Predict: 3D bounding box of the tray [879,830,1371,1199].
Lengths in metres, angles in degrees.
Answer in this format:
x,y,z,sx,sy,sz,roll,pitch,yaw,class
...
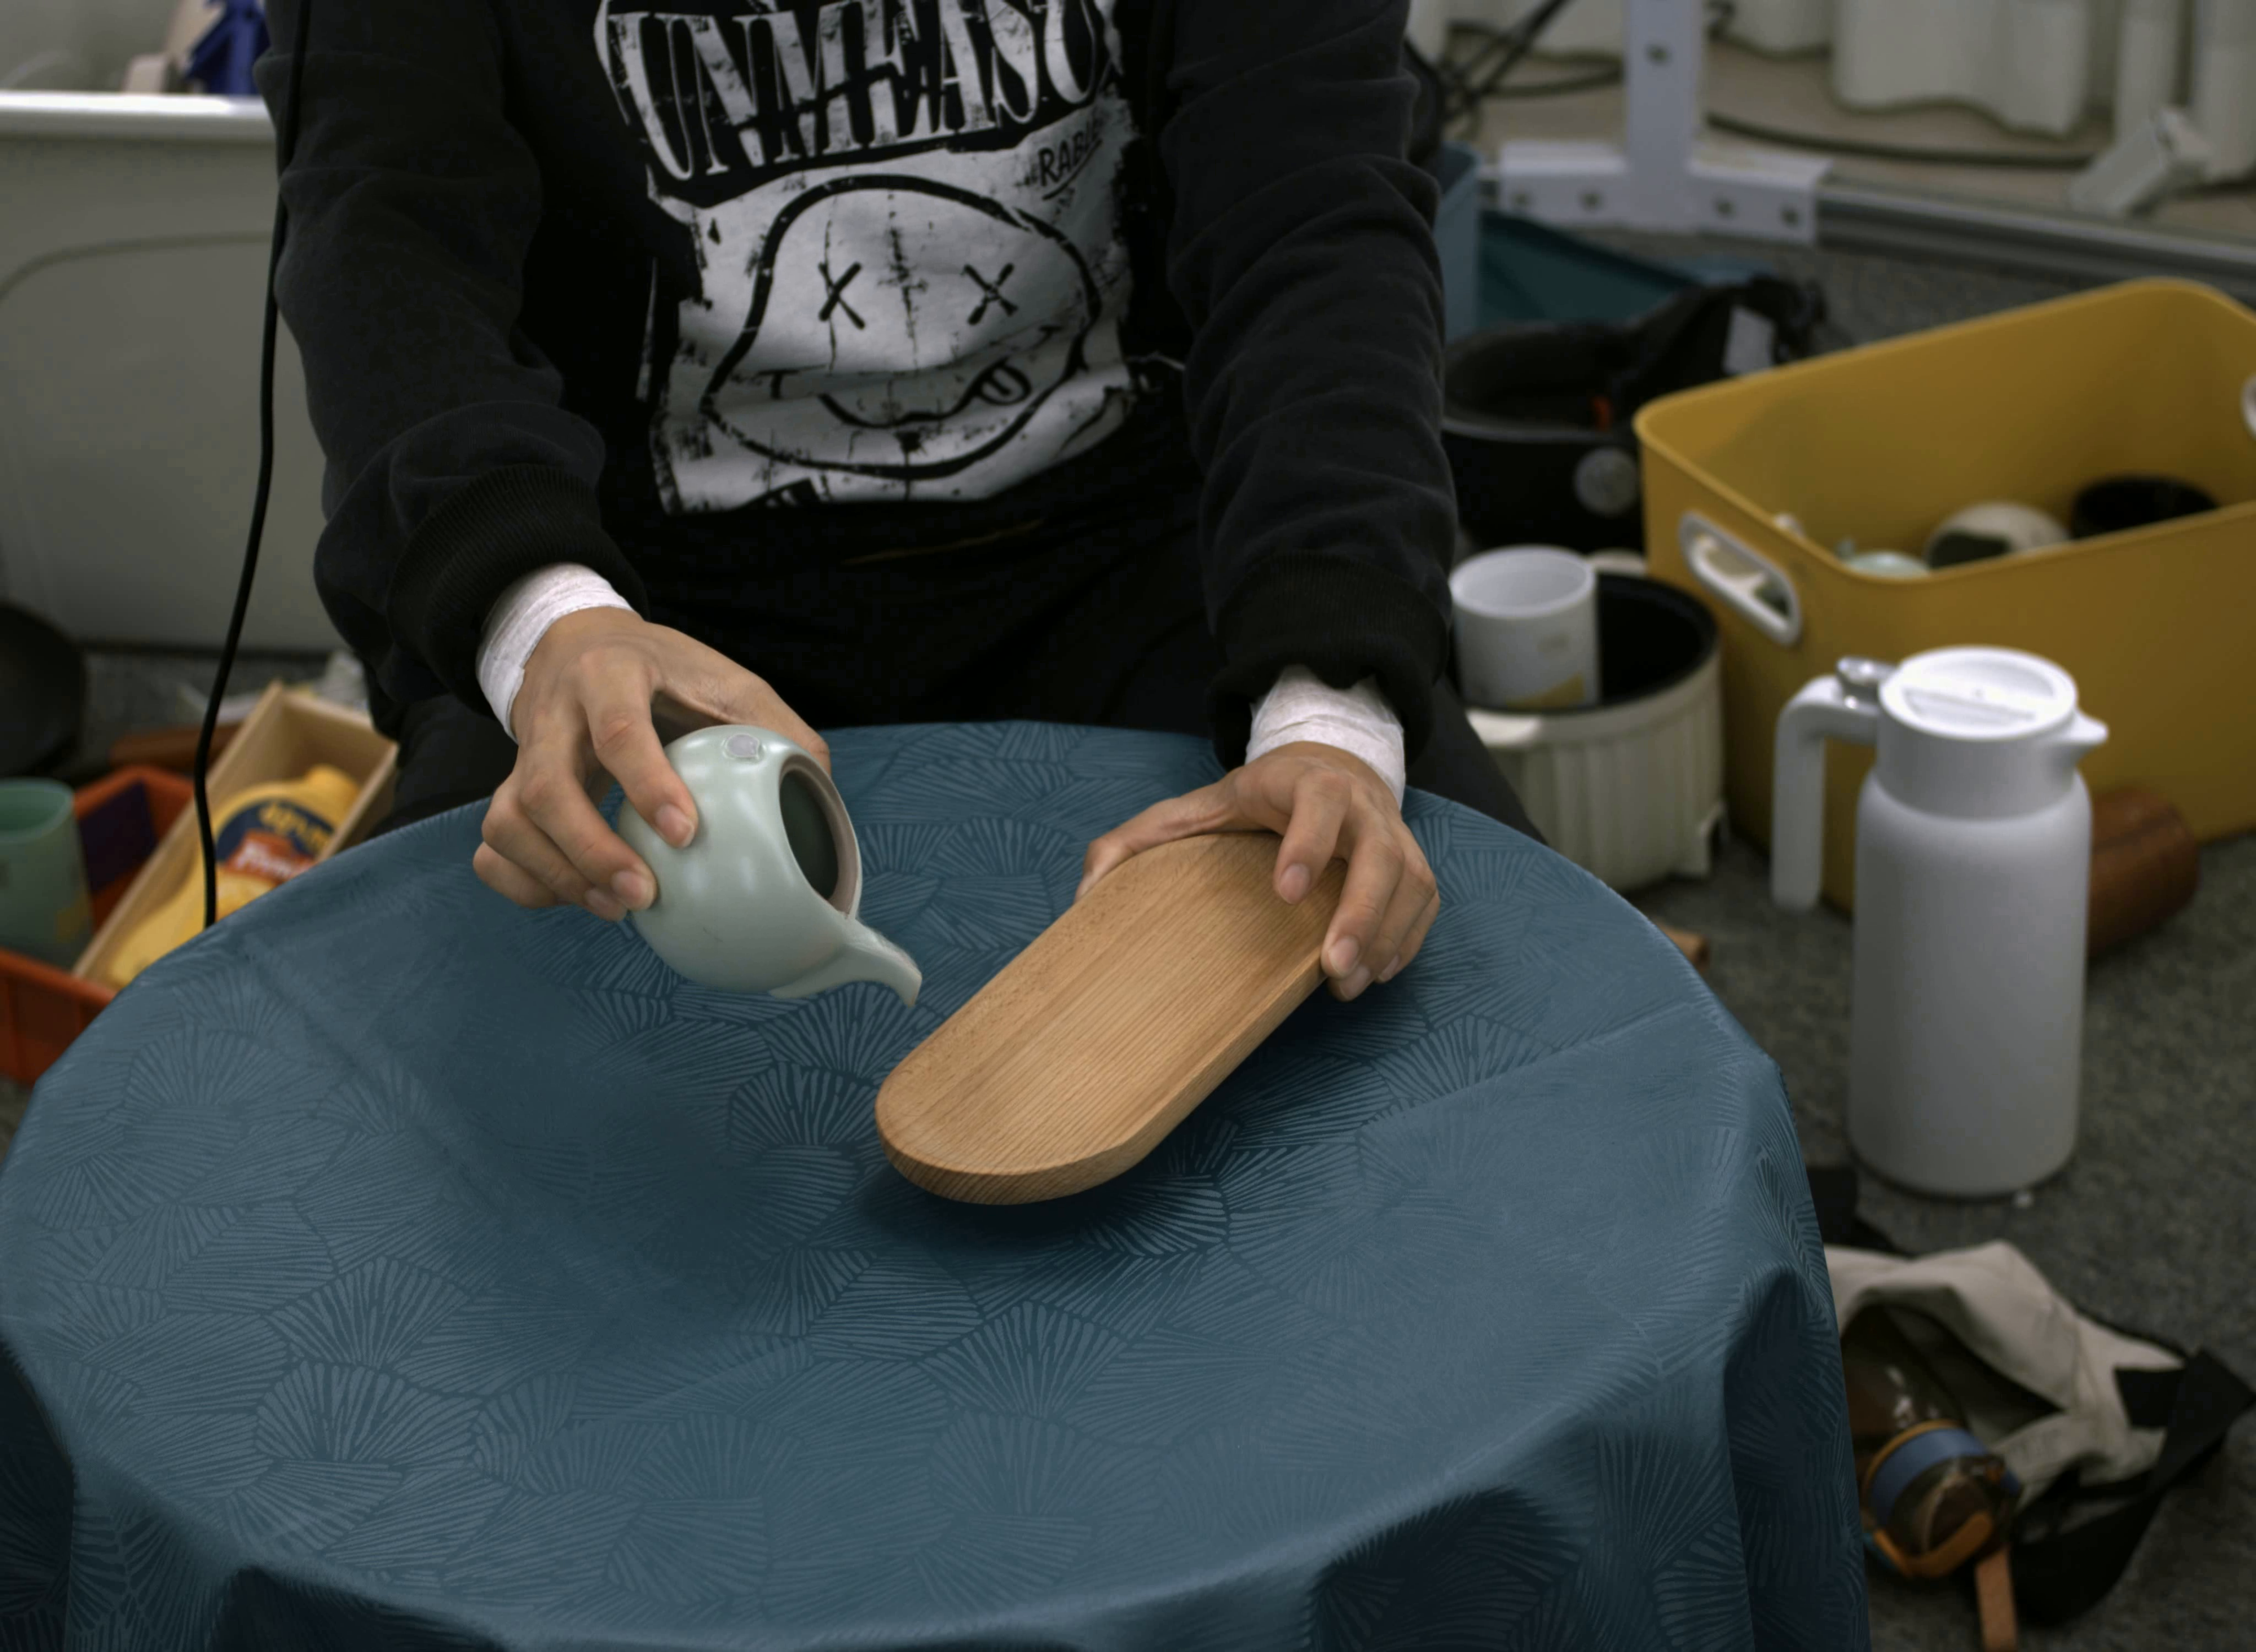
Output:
x,y,z,sx,sy,sz,roll,pitch,yaw,class
0.001,0.062,1.907,0.101,0.020,0.235,12,32,28,tray

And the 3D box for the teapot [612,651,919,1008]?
x,y,z,sx,sy,sz,roll,pitch,yaw,class
-0.126,0.009,1.831,0.074,0.143,0.090,-16,26,18,teapot
